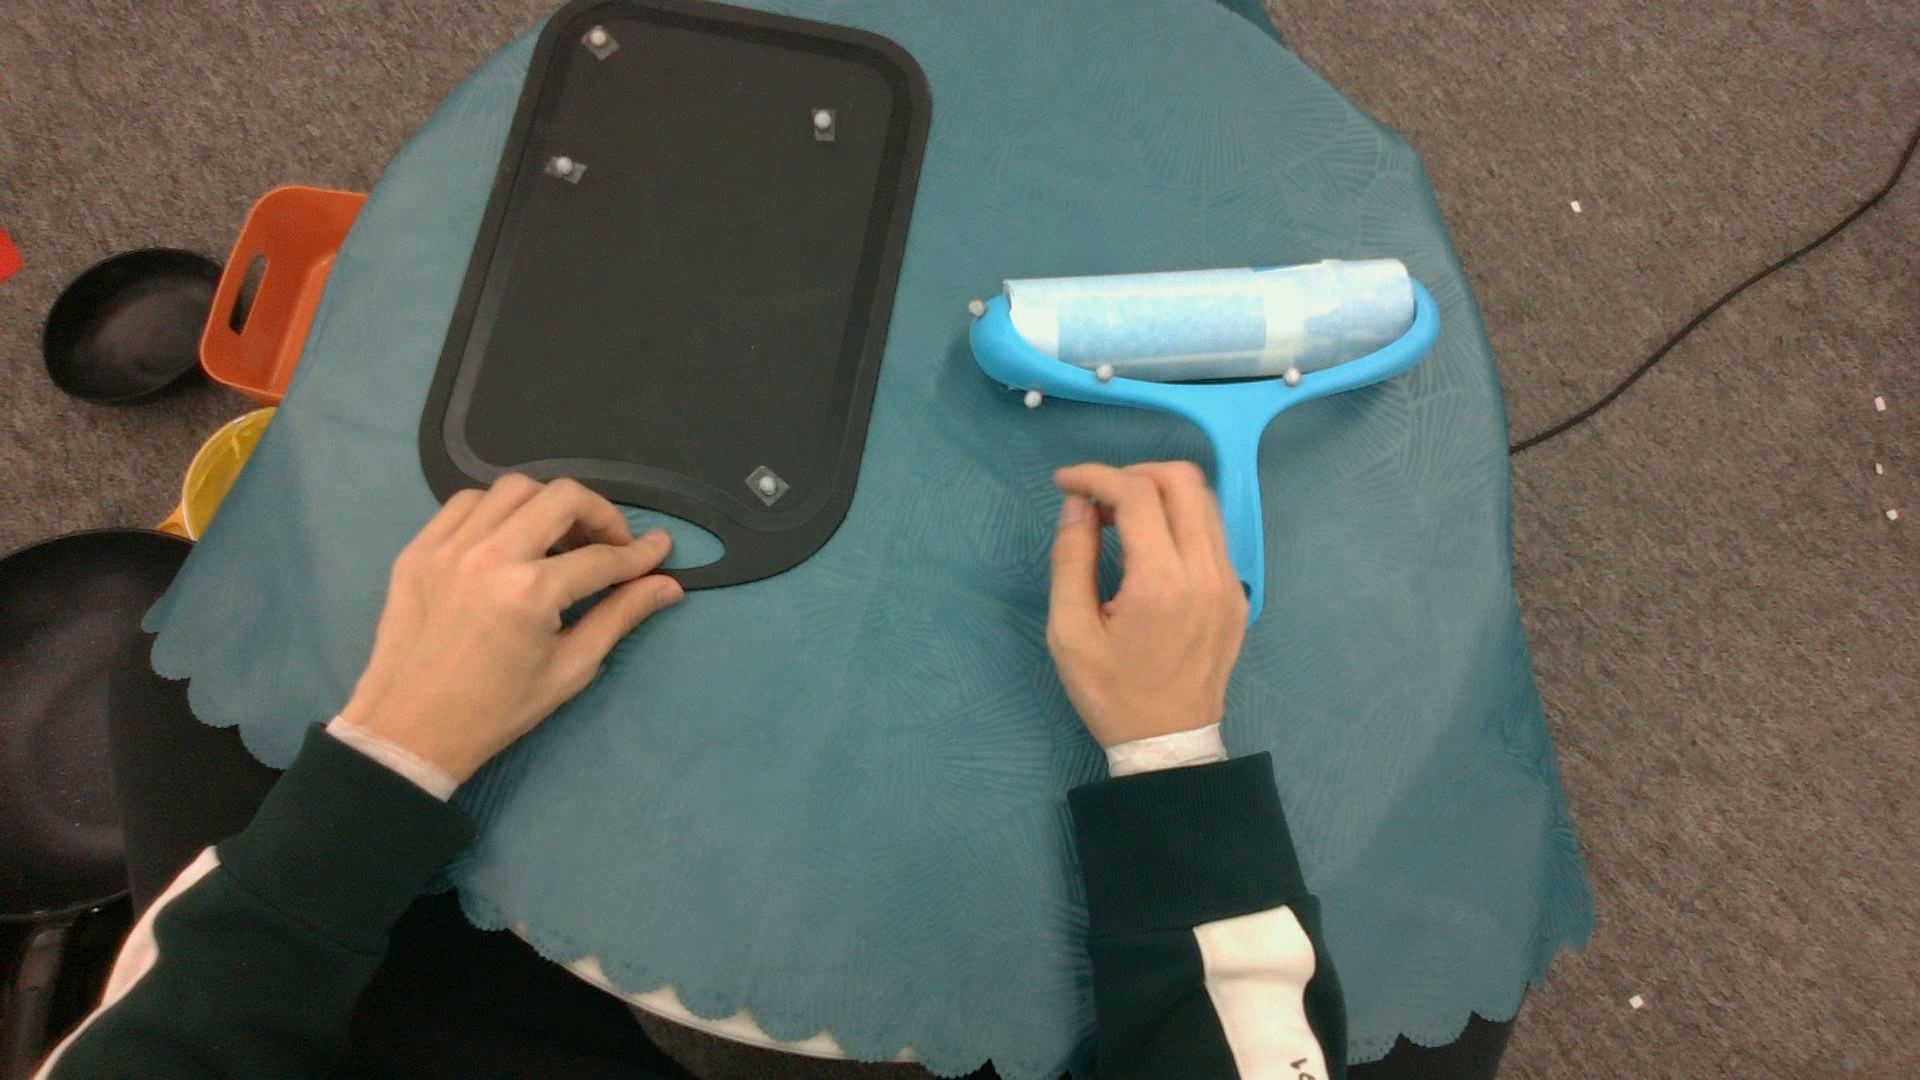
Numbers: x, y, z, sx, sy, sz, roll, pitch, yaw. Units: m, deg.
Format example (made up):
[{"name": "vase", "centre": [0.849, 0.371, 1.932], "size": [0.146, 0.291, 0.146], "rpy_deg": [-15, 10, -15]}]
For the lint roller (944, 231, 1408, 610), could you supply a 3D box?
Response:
[{"name": "lint roller", "centre": [0.116, -0.061, 0.659], "size": [0.229, 0.067, 0.180], "rpy_deg": [-8, 73, -8]}]

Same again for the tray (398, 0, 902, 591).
[{"name": "tray", "centre": [-0.150, -0.133, 0.690], "size": [0.211, 0.010, 0.326], "rpy_deg": [9, 72, -1]}]
